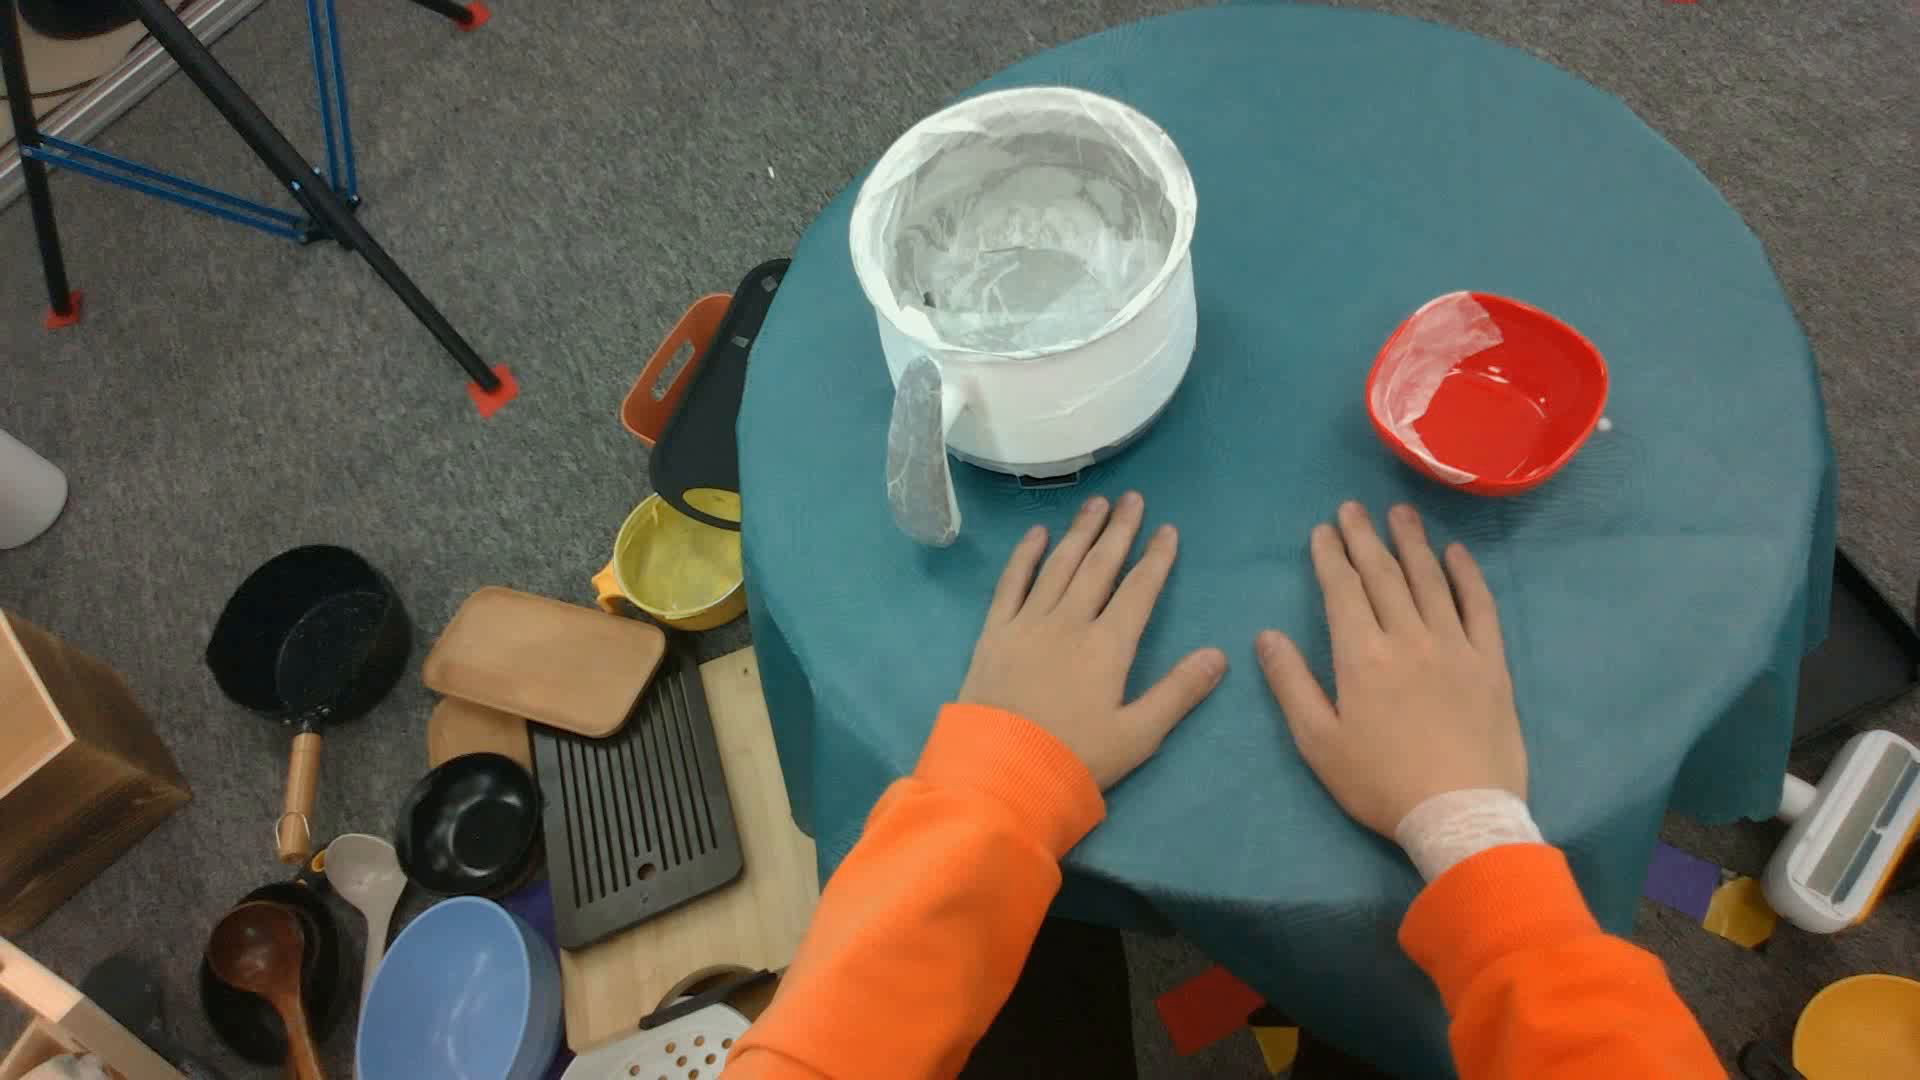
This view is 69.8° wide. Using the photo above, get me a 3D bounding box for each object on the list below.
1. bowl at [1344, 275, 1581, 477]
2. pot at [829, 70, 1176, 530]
[{"bbox_3d":[0.261,-0.079,0.730,0.119,0.051,0.119,-3,62,6],"label":"bowl"},{"bbox_3d":[0.017,-0.122,0.744,0.178,0.136,0.234,20,67,19],"label":"pot"}]
